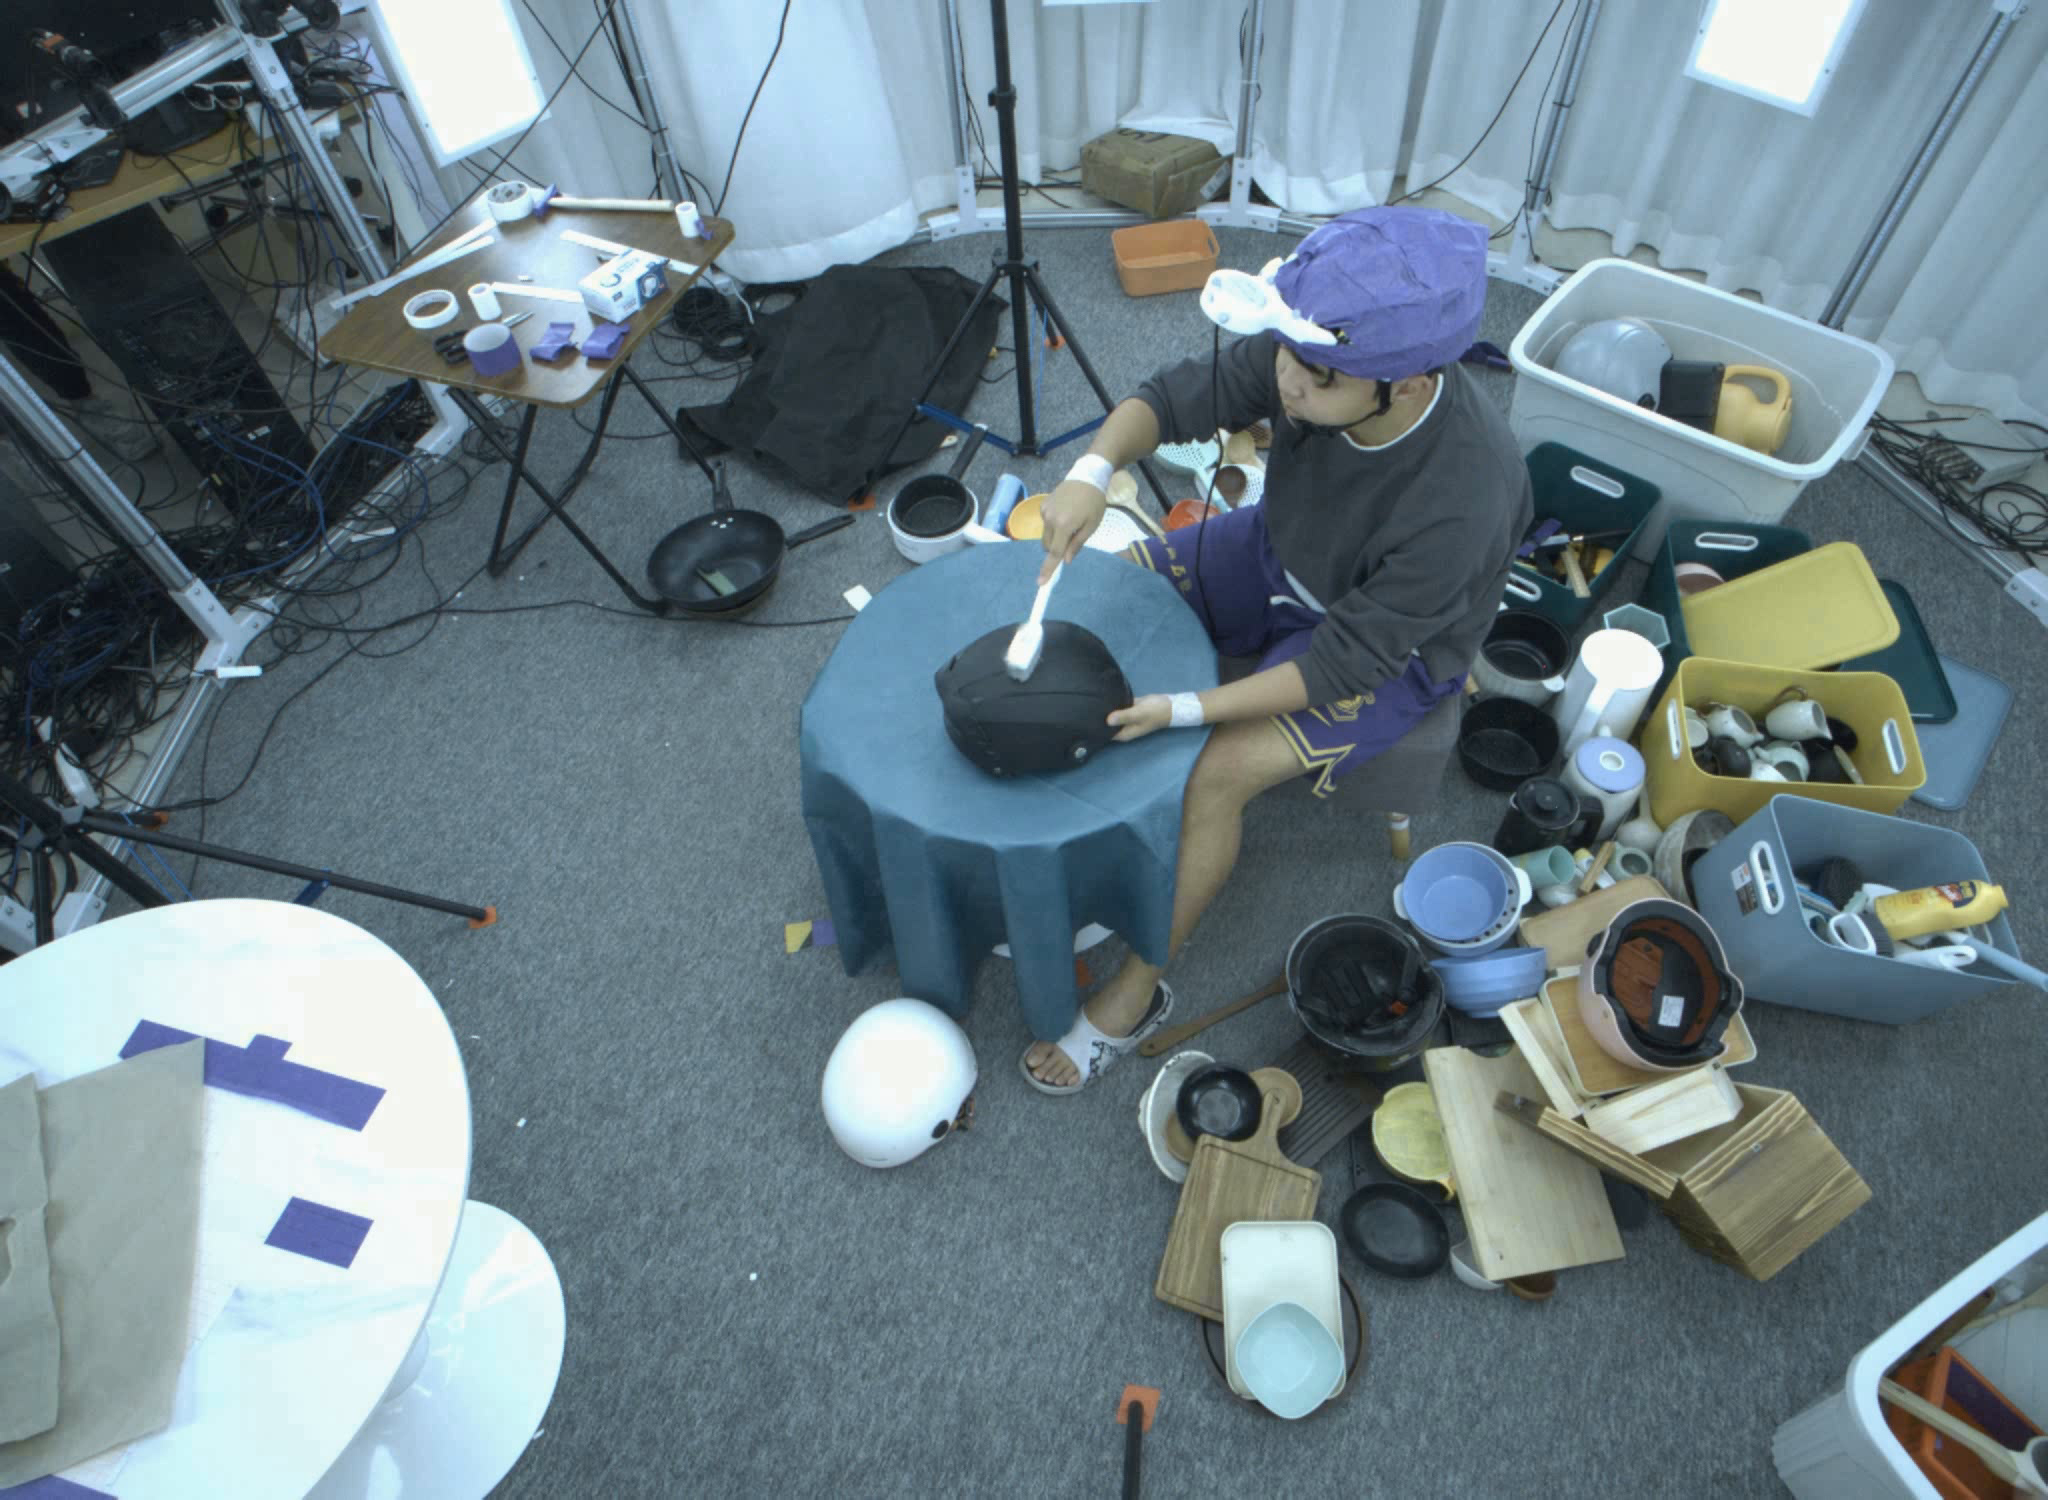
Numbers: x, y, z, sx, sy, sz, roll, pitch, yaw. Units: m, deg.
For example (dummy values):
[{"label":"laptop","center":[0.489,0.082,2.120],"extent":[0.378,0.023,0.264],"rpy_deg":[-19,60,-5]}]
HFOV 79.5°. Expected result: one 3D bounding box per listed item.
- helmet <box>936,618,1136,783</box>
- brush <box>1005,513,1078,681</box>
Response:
[{"label":"helmet","center":[0.015,-0.091,1.752],"extent":[0.277,0.175,0.242],"rpy_deg":[-17,54,-5]},{"label":"brush","center":[0.027,-0.209,1.674],"extent":[0.034,0.051,0.243],"rpy_deg":[17,77,14]}]
